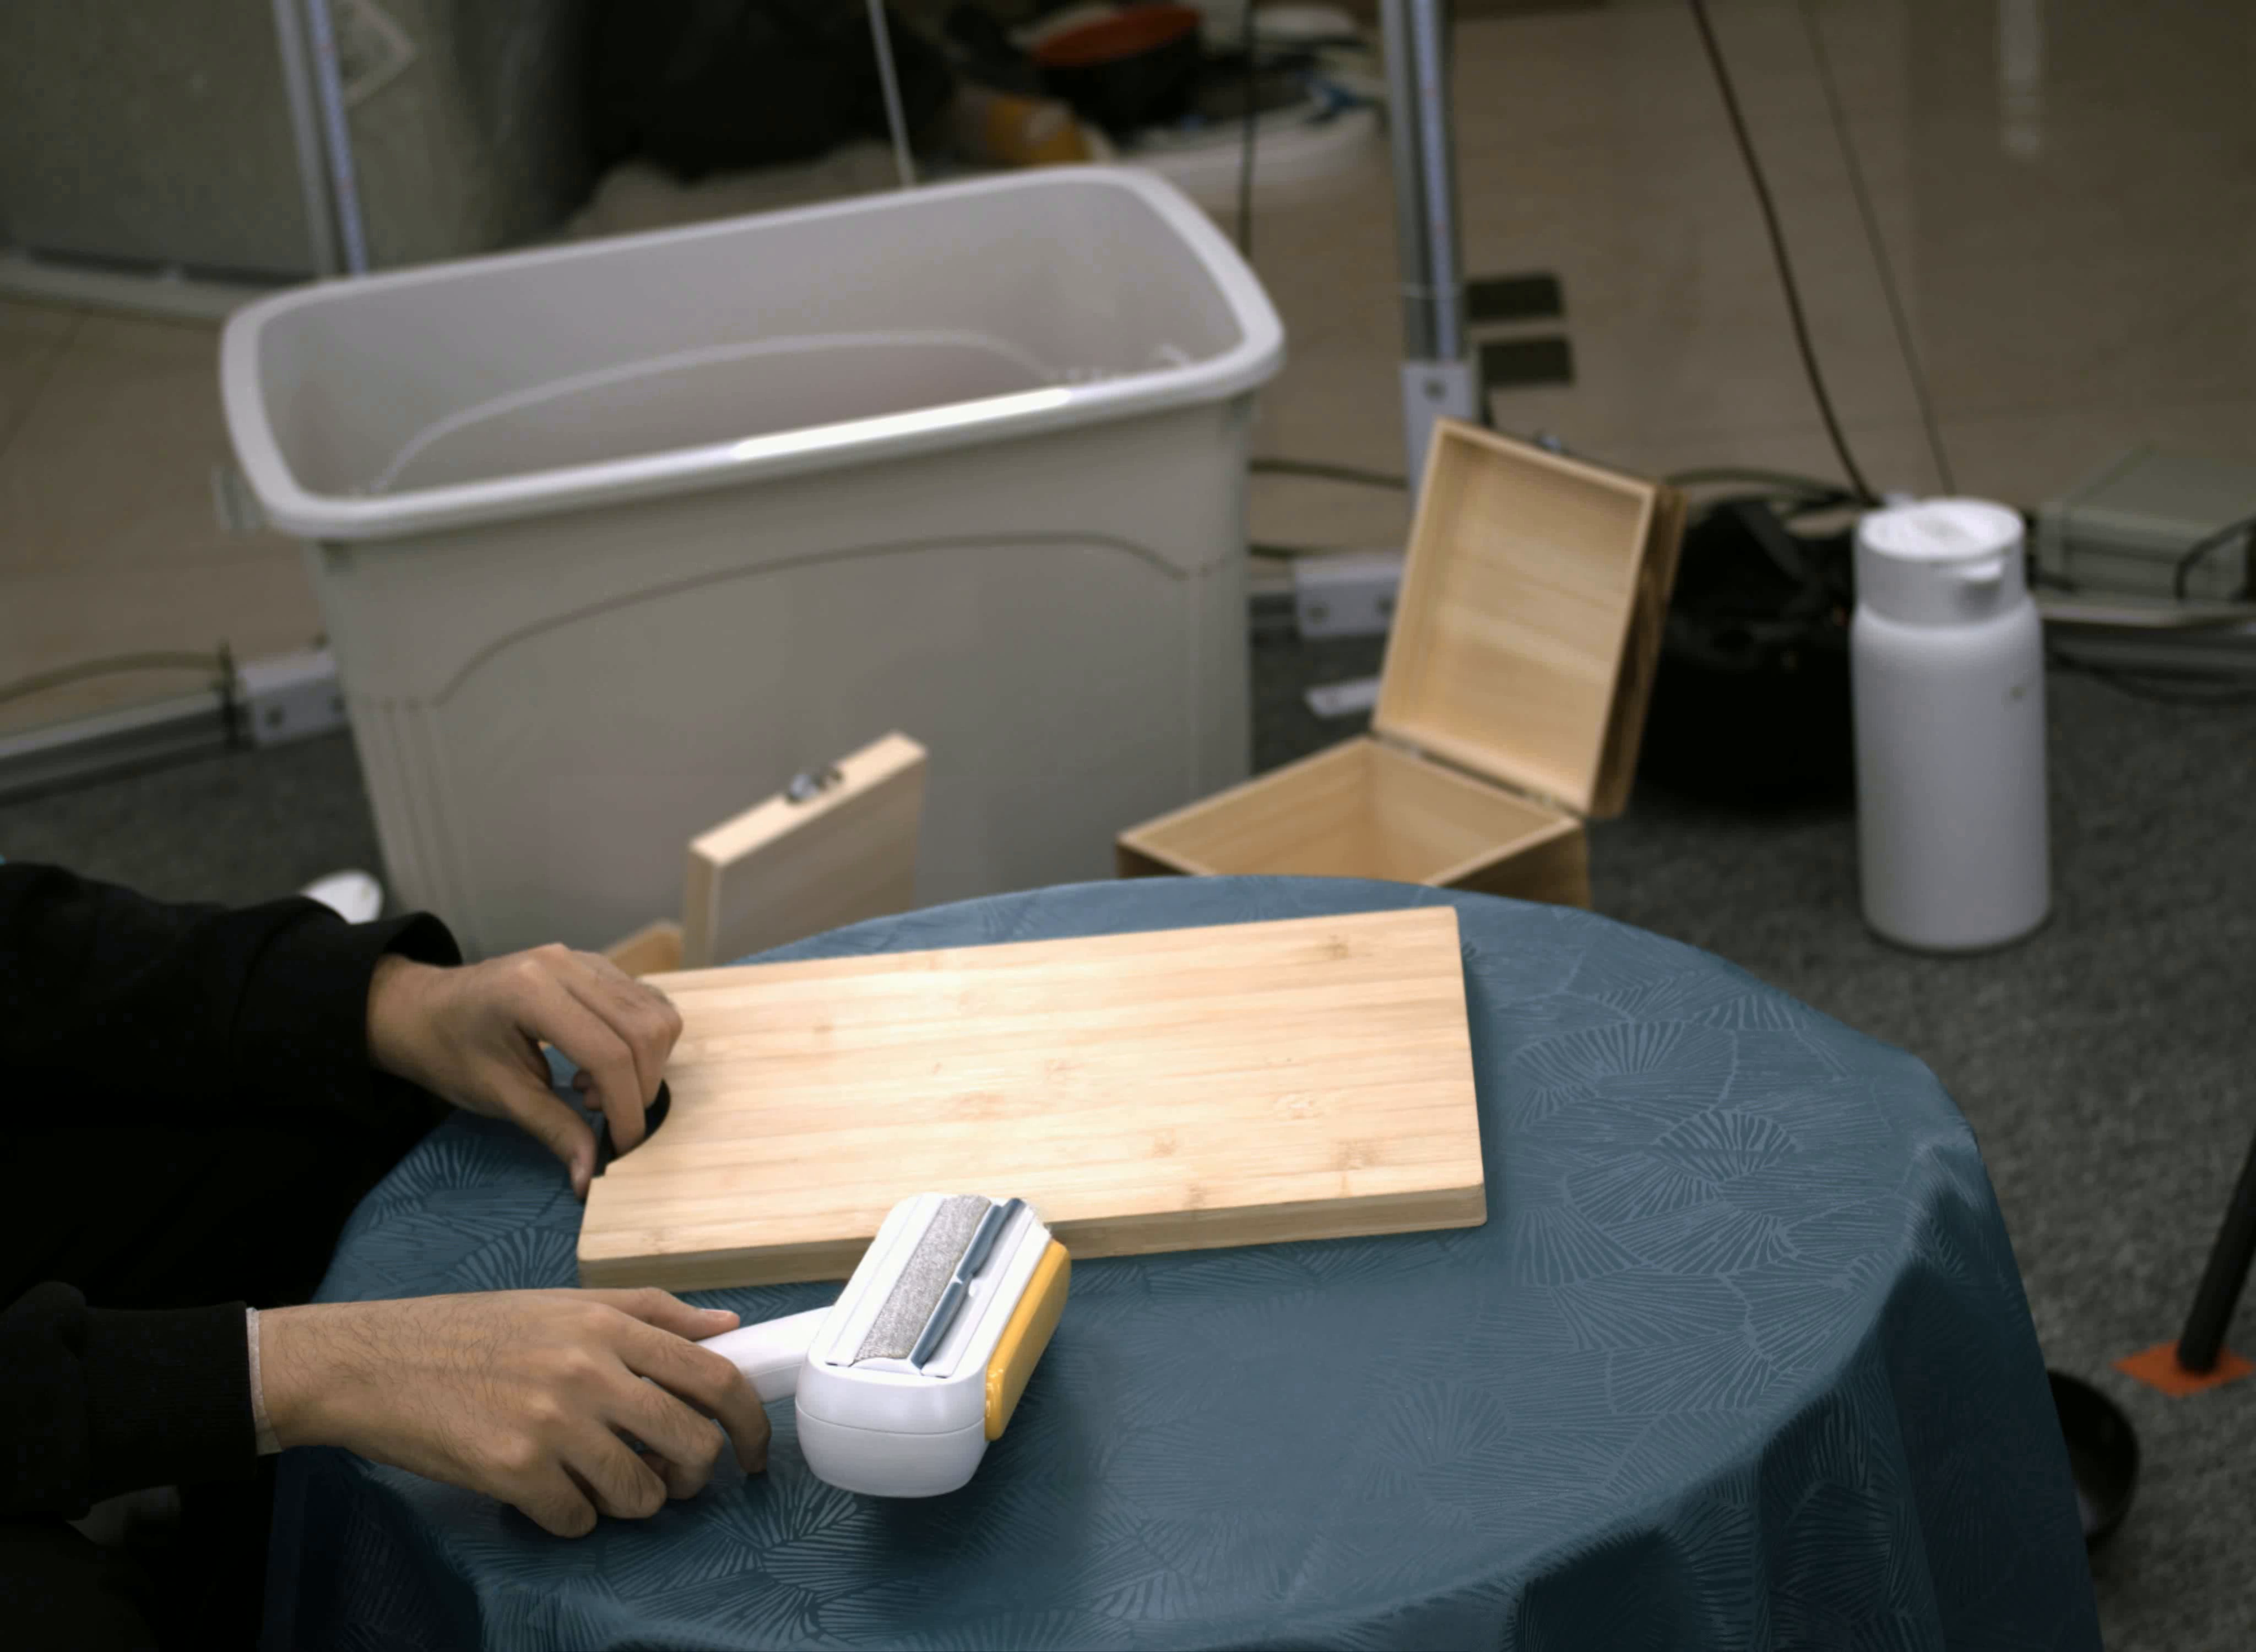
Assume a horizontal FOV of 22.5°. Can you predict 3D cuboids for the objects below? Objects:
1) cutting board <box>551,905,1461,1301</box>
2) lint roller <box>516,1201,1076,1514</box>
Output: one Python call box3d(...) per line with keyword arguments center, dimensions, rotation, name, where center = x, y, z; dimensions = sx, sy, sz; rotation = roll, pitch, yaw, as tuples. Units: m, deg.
box3d(center=(-0.041, 0.106, 2.207), dimensions=(0.348, 0.024, 0.247), rotation=(-5, 25, 3), name="cutting board")
box3d(center=(-0.125, 0.190, 1.986), dimensions=(0.192, 0.075, 0.190), rotation=(-2, 20, 14), name="lint roller")
